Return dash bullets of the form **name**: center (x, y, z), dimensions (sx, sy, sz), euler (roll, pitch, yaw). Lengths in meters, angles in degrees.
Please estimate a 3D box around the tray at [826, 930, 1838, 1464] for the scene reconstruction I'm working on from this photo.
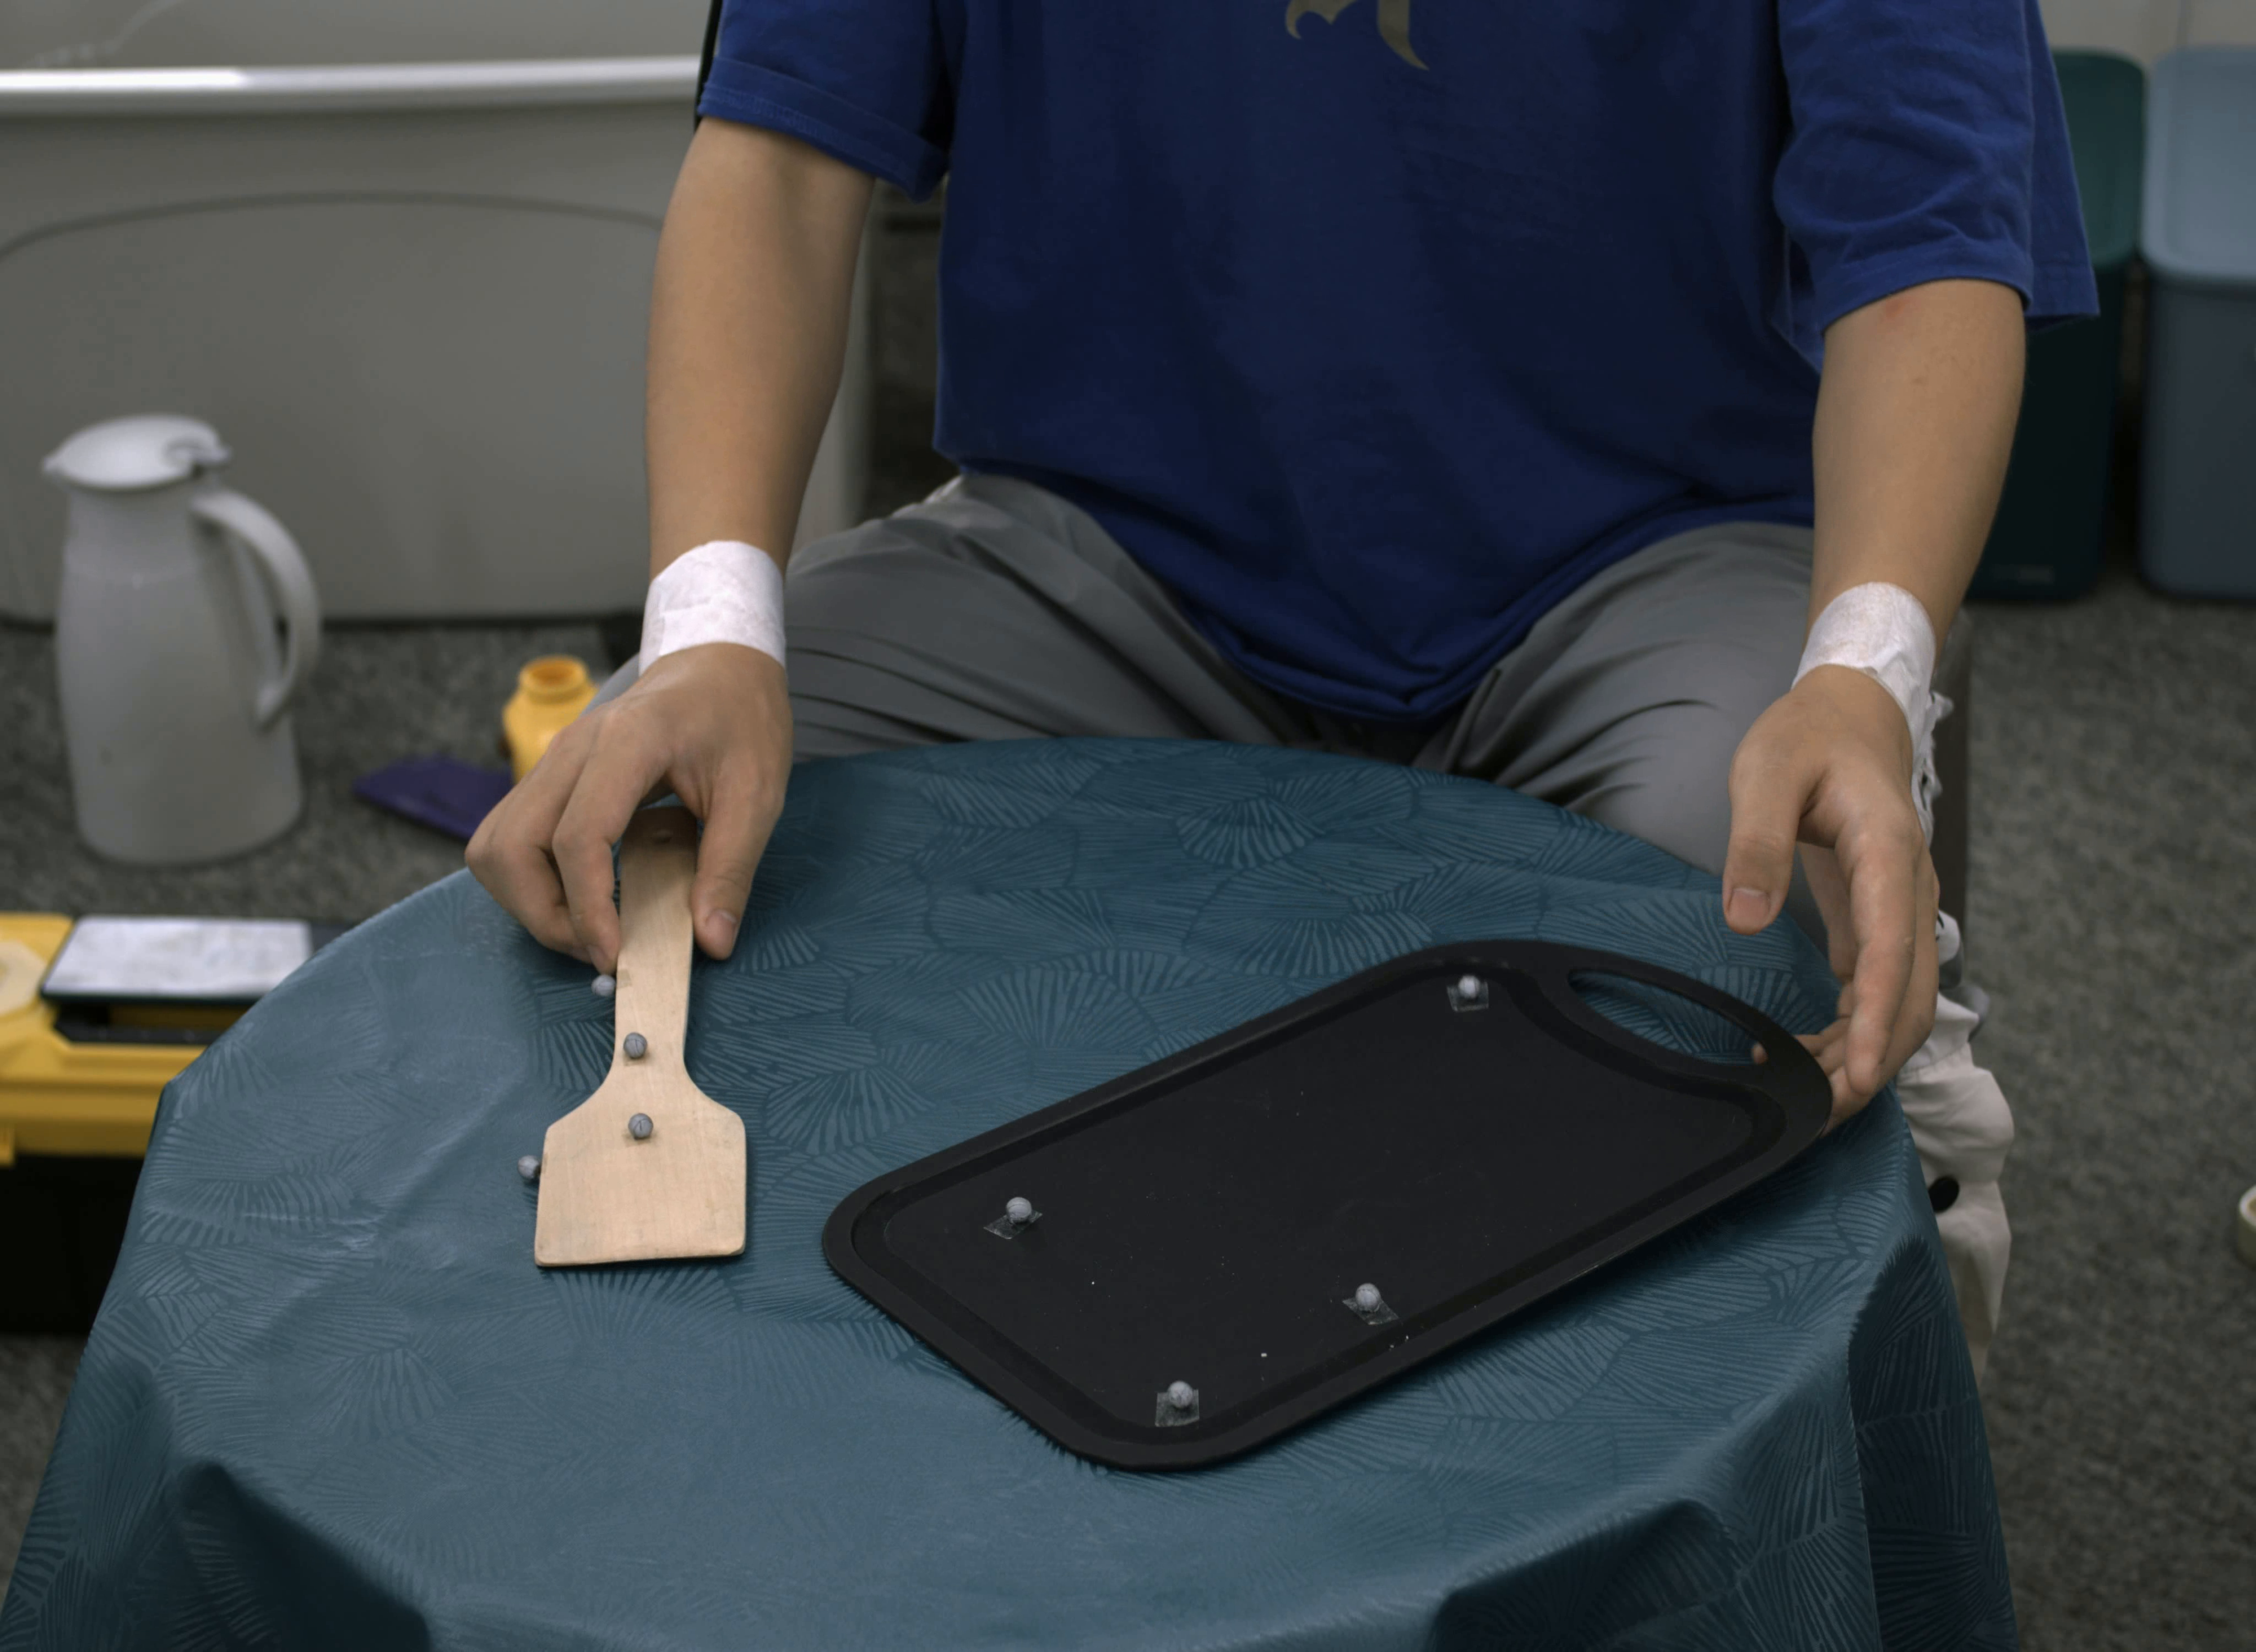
- **tray**: center (0.073, 0.112, 1.853), dimensions (0.328, 0.009, 0.211), euler (-22, 32, -29)

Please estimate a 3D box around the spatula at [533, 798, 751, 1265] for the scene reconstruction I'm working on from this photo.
- **spatula**: center (-0.166, 0.068, 1.960), dimensions (0.072, 0.010, 0.298), euler (-4, 31, -1)
